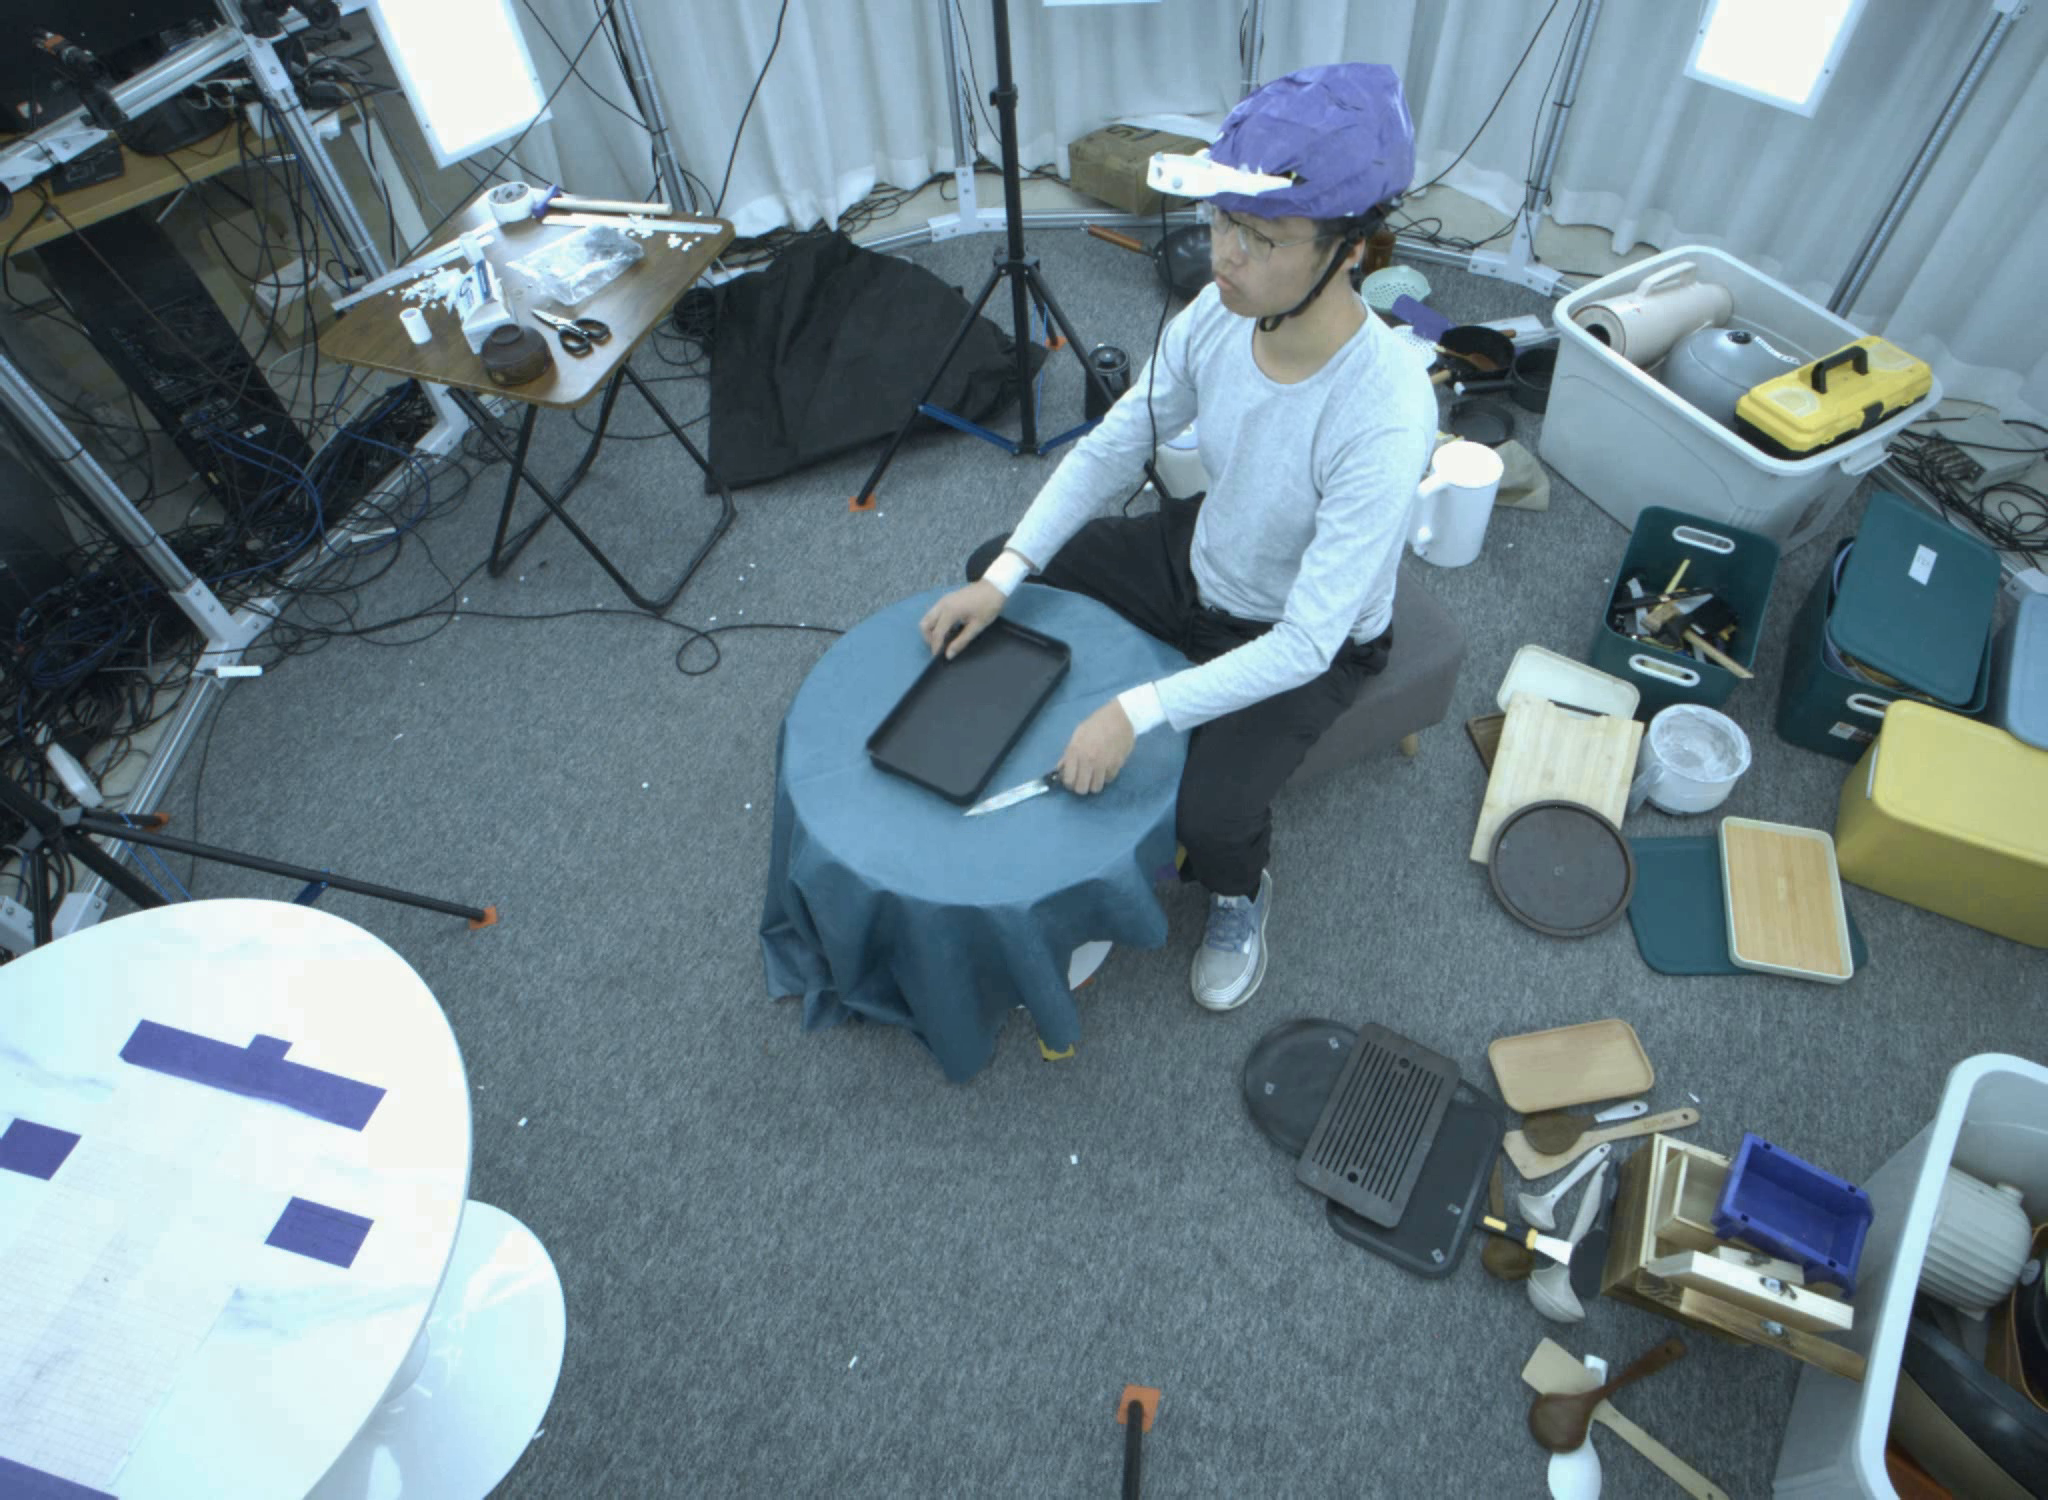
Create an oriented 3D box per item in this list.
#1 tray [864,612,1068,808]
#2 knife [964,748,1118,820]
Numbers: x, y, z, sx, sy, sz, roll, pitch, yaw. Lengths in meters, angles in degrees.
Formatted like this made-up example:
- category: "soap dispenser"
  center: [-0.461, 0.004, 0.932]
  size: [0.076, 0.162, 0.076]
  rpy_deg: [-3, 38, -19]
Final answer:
- category: "tray"
  center: [-0.081, -0.066, 1.822]
  size: [0.182, 0.037, 0.319]
  rpy_deg: [23, 58, 17]
- category: "knife"
  center: [0.023, 0.048, 1.745]
  size: [0.239, 0.016, 0.024]
  rpy_deg: [-23, 96, -9]
